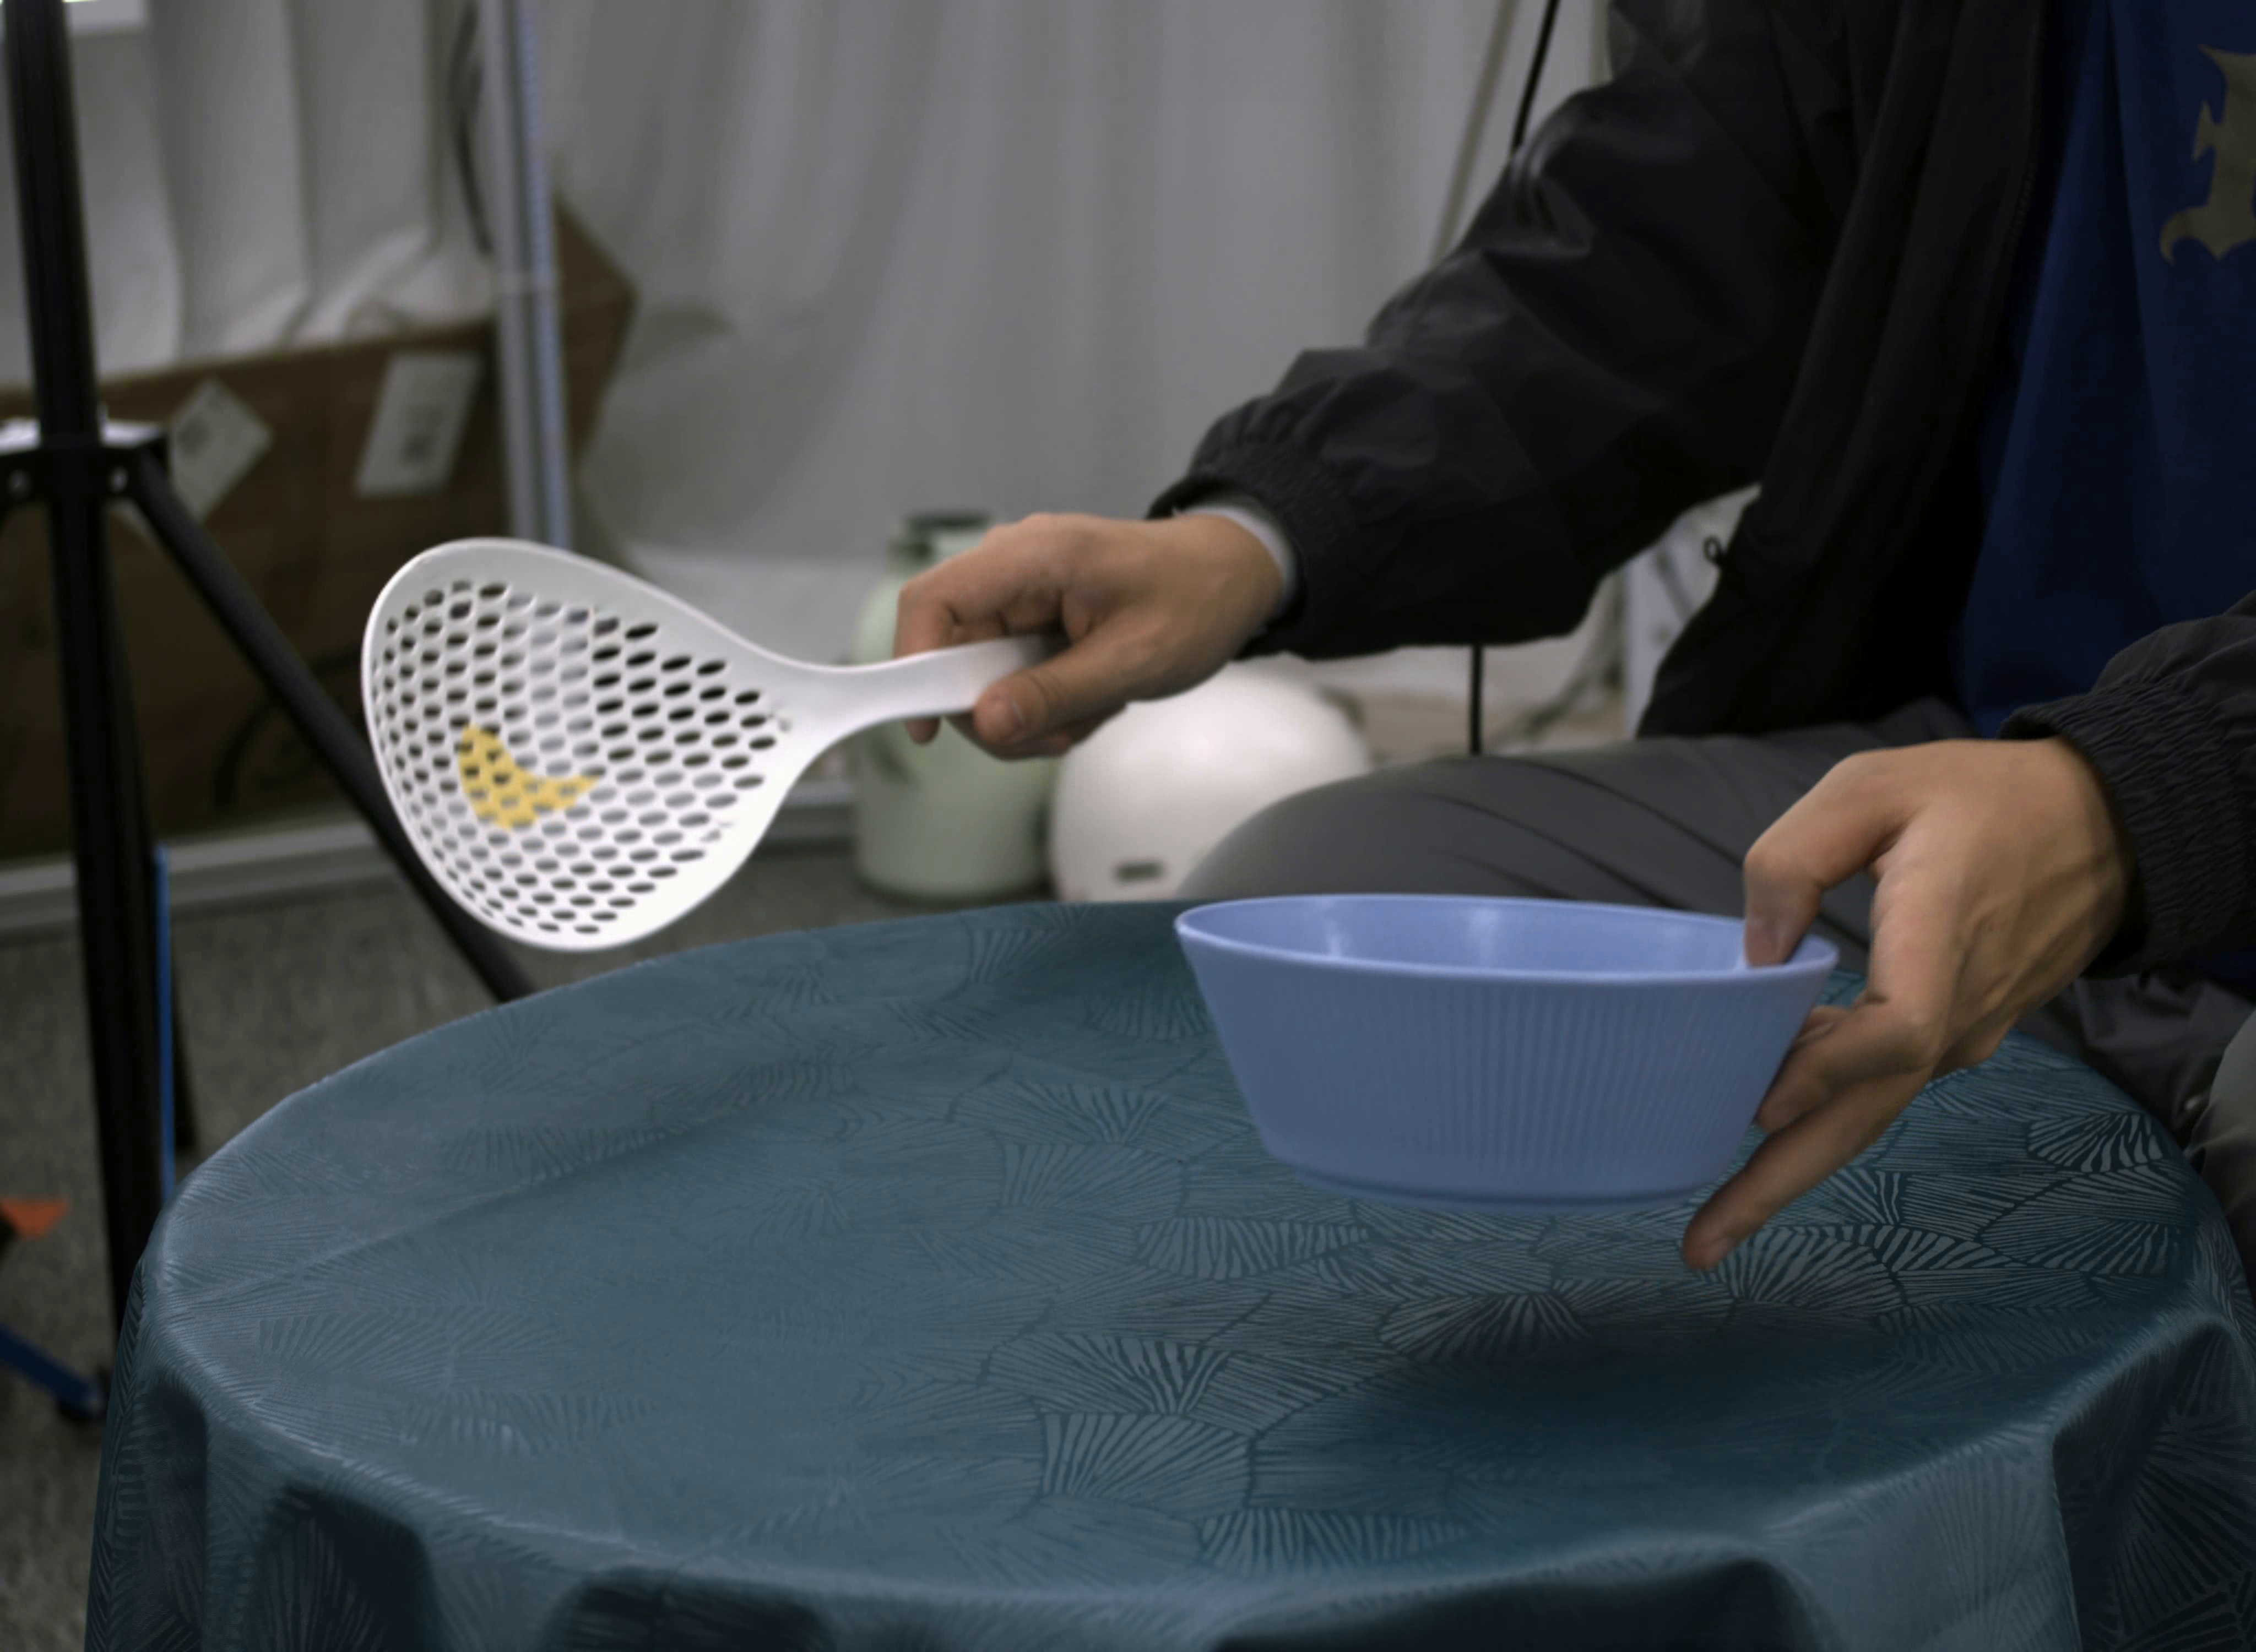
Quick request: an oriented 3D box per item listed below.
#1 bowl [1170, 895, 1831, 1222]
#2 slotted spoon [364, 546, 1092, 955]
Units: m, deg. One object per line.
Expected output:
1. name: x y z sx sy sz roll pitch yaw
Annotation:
1. bowl: 0.096 0.062 1.402 0.175 0.070 0.176 3 5 -2
2. slotted spoon: -0.113 -0.034 1.711 0.340 0.138 0.051 -14 -17 -45
